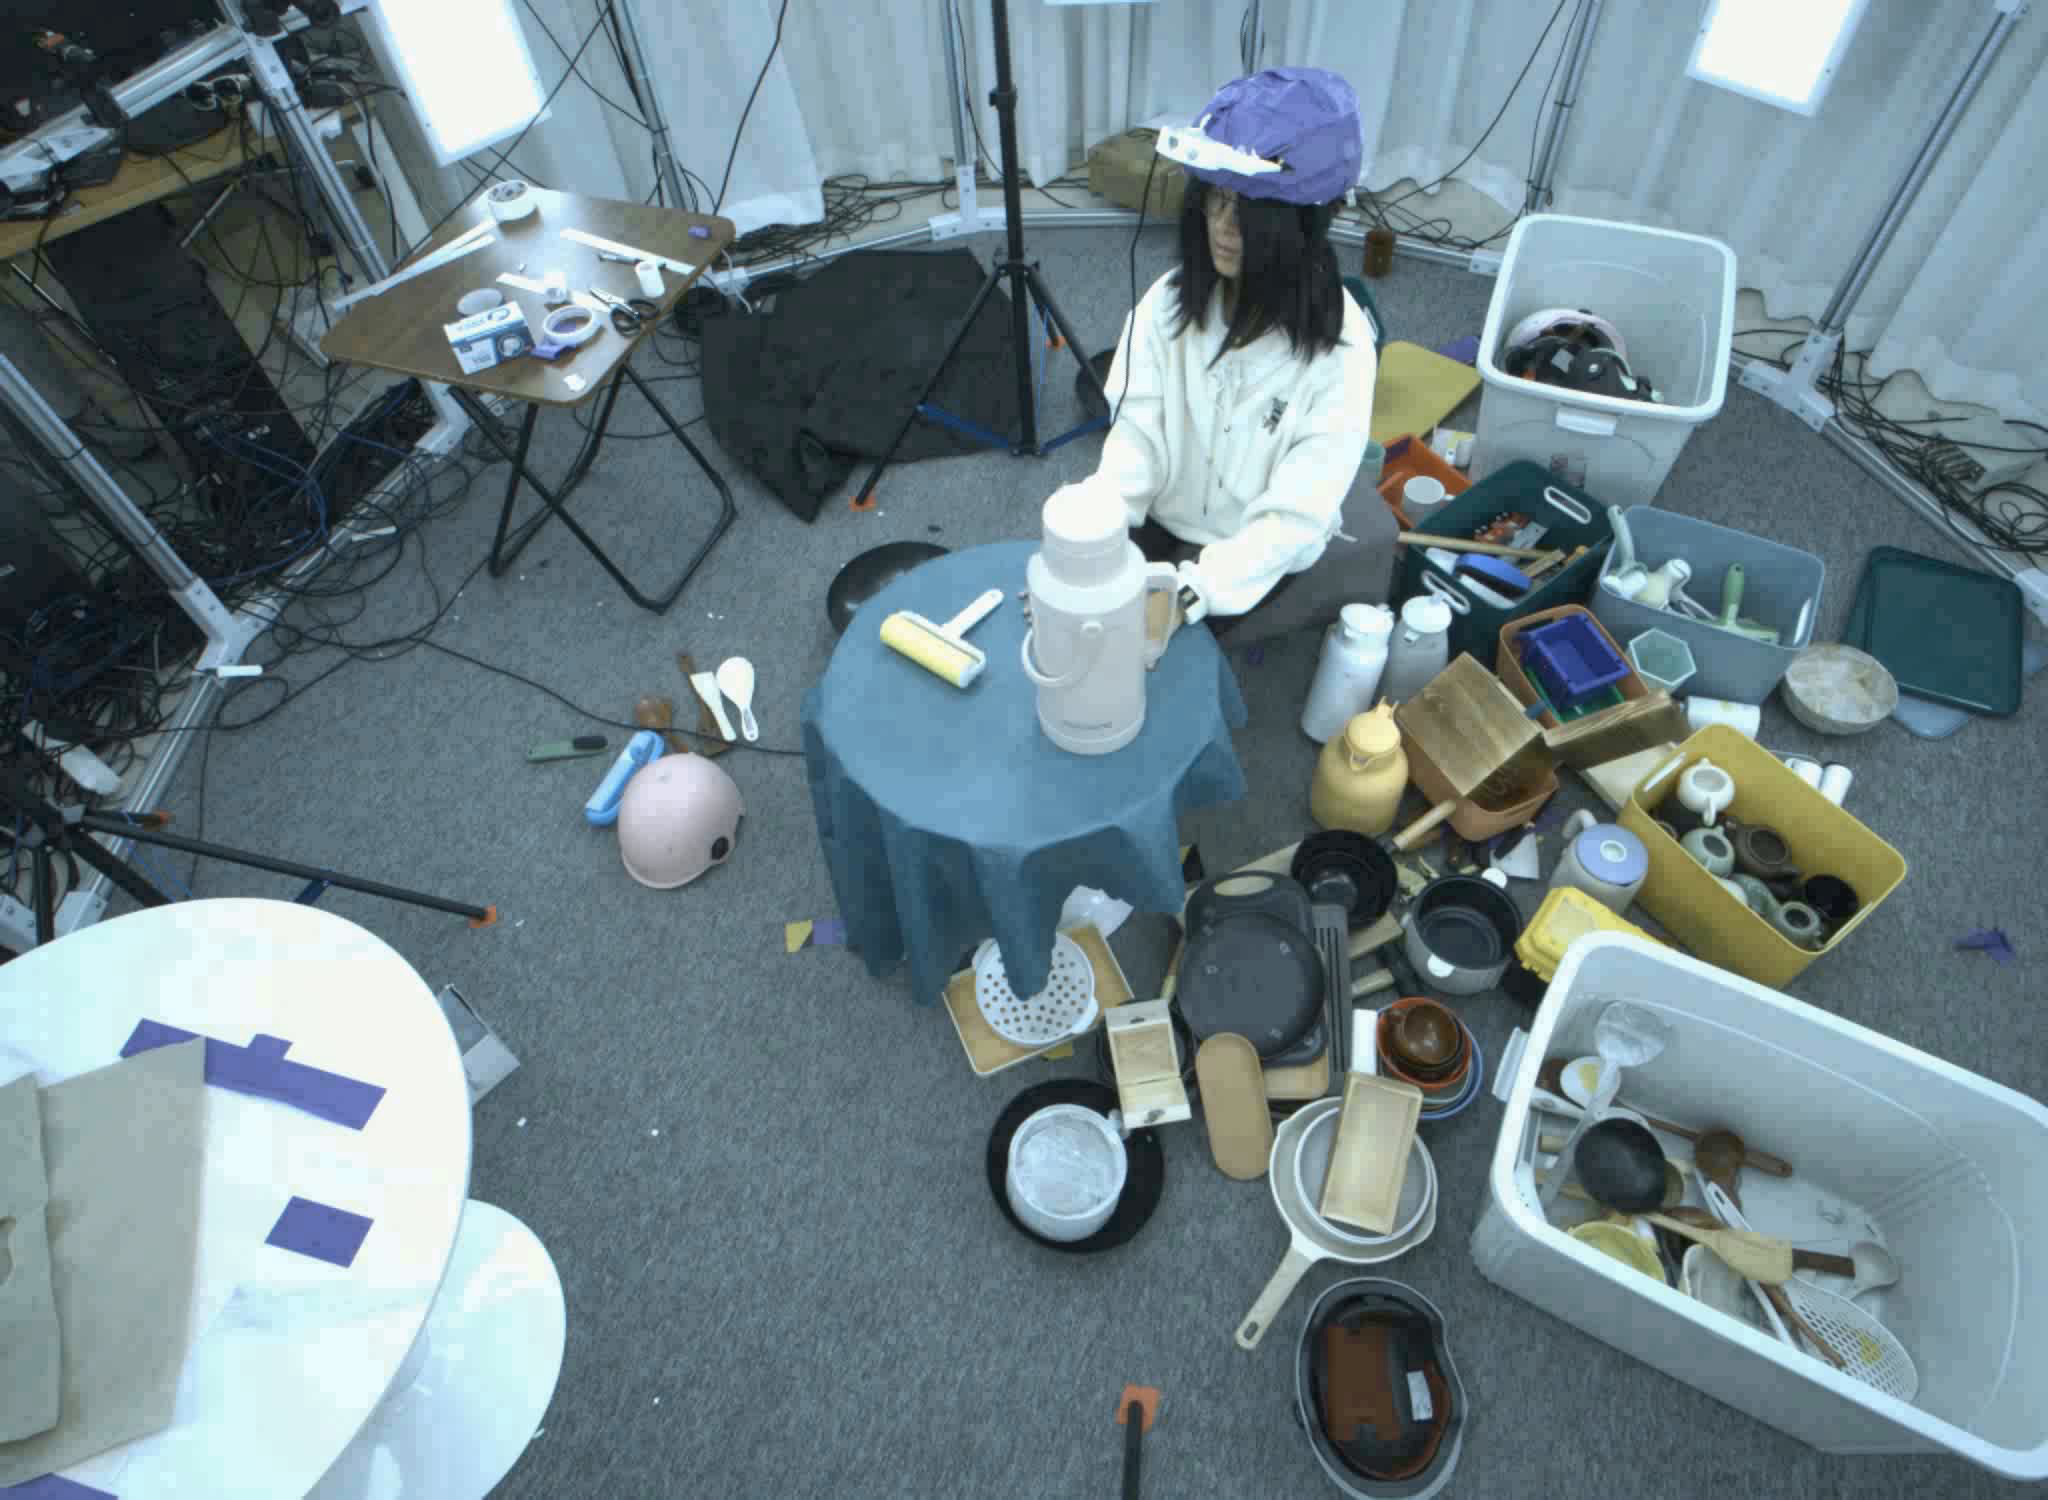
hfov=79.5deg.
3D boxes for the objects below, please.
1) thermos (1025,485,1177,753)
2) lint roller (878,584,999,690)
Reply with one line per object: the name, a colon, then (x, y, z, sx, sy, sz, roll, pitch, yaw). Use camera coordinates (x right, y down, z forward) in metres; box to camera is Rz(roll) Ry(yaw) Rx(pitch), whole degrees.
thermos: (0.100, -0.173, 1.662, 0.207, 0.411, 0.173, -4, 54, 1)
lint roller: (-0.106, -0.200, 1.899, 0.171, 0.052, 0.192, 31, 68, 21)
